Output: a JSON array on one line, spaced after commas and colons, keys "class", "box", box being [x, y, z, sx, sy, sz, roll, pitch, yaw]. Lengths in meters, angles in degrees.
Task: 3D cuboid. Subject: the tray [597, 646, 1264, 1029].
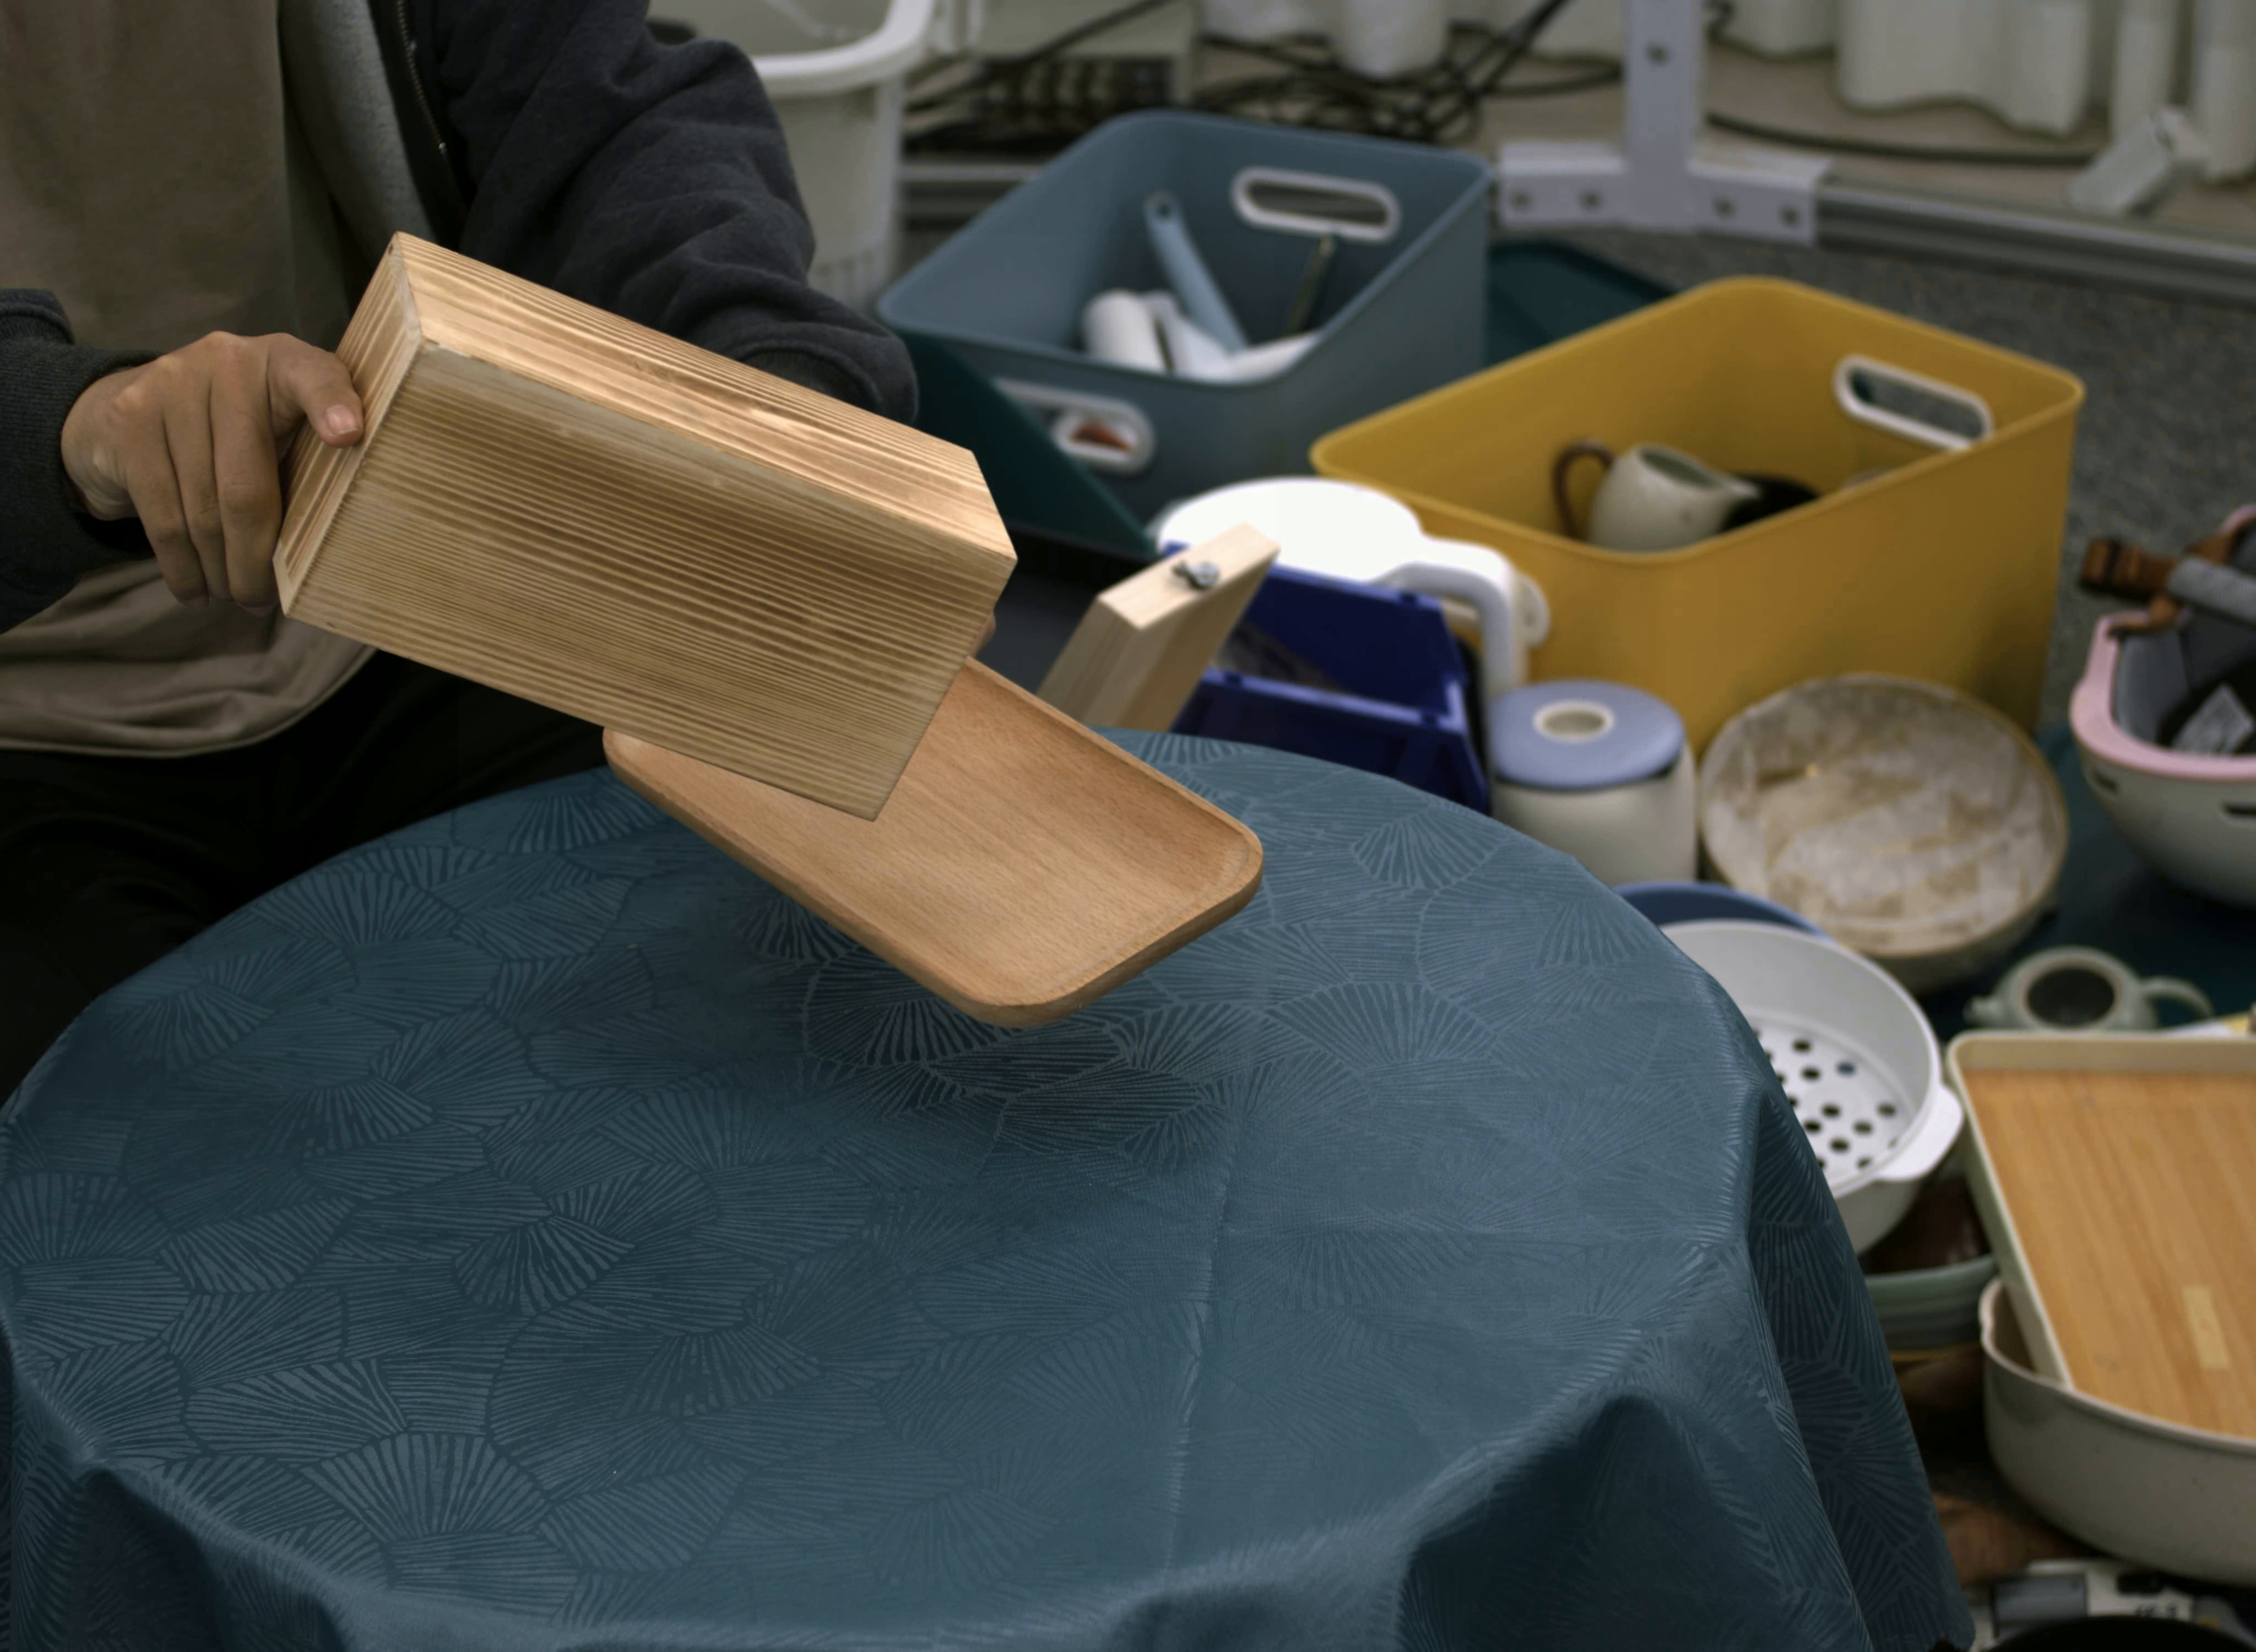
[{"class": "tray", "box": [-0.071, -0.007, 1.948, 0.132, 0.022, 0.251, -27, 40, -30]}]

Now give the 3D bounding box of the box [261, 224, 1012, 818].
[{"class": "box", "box": [-0.159, -0.096, 1.816, 0.211, 0.106, 0.081, 20, 22, -24]}]
